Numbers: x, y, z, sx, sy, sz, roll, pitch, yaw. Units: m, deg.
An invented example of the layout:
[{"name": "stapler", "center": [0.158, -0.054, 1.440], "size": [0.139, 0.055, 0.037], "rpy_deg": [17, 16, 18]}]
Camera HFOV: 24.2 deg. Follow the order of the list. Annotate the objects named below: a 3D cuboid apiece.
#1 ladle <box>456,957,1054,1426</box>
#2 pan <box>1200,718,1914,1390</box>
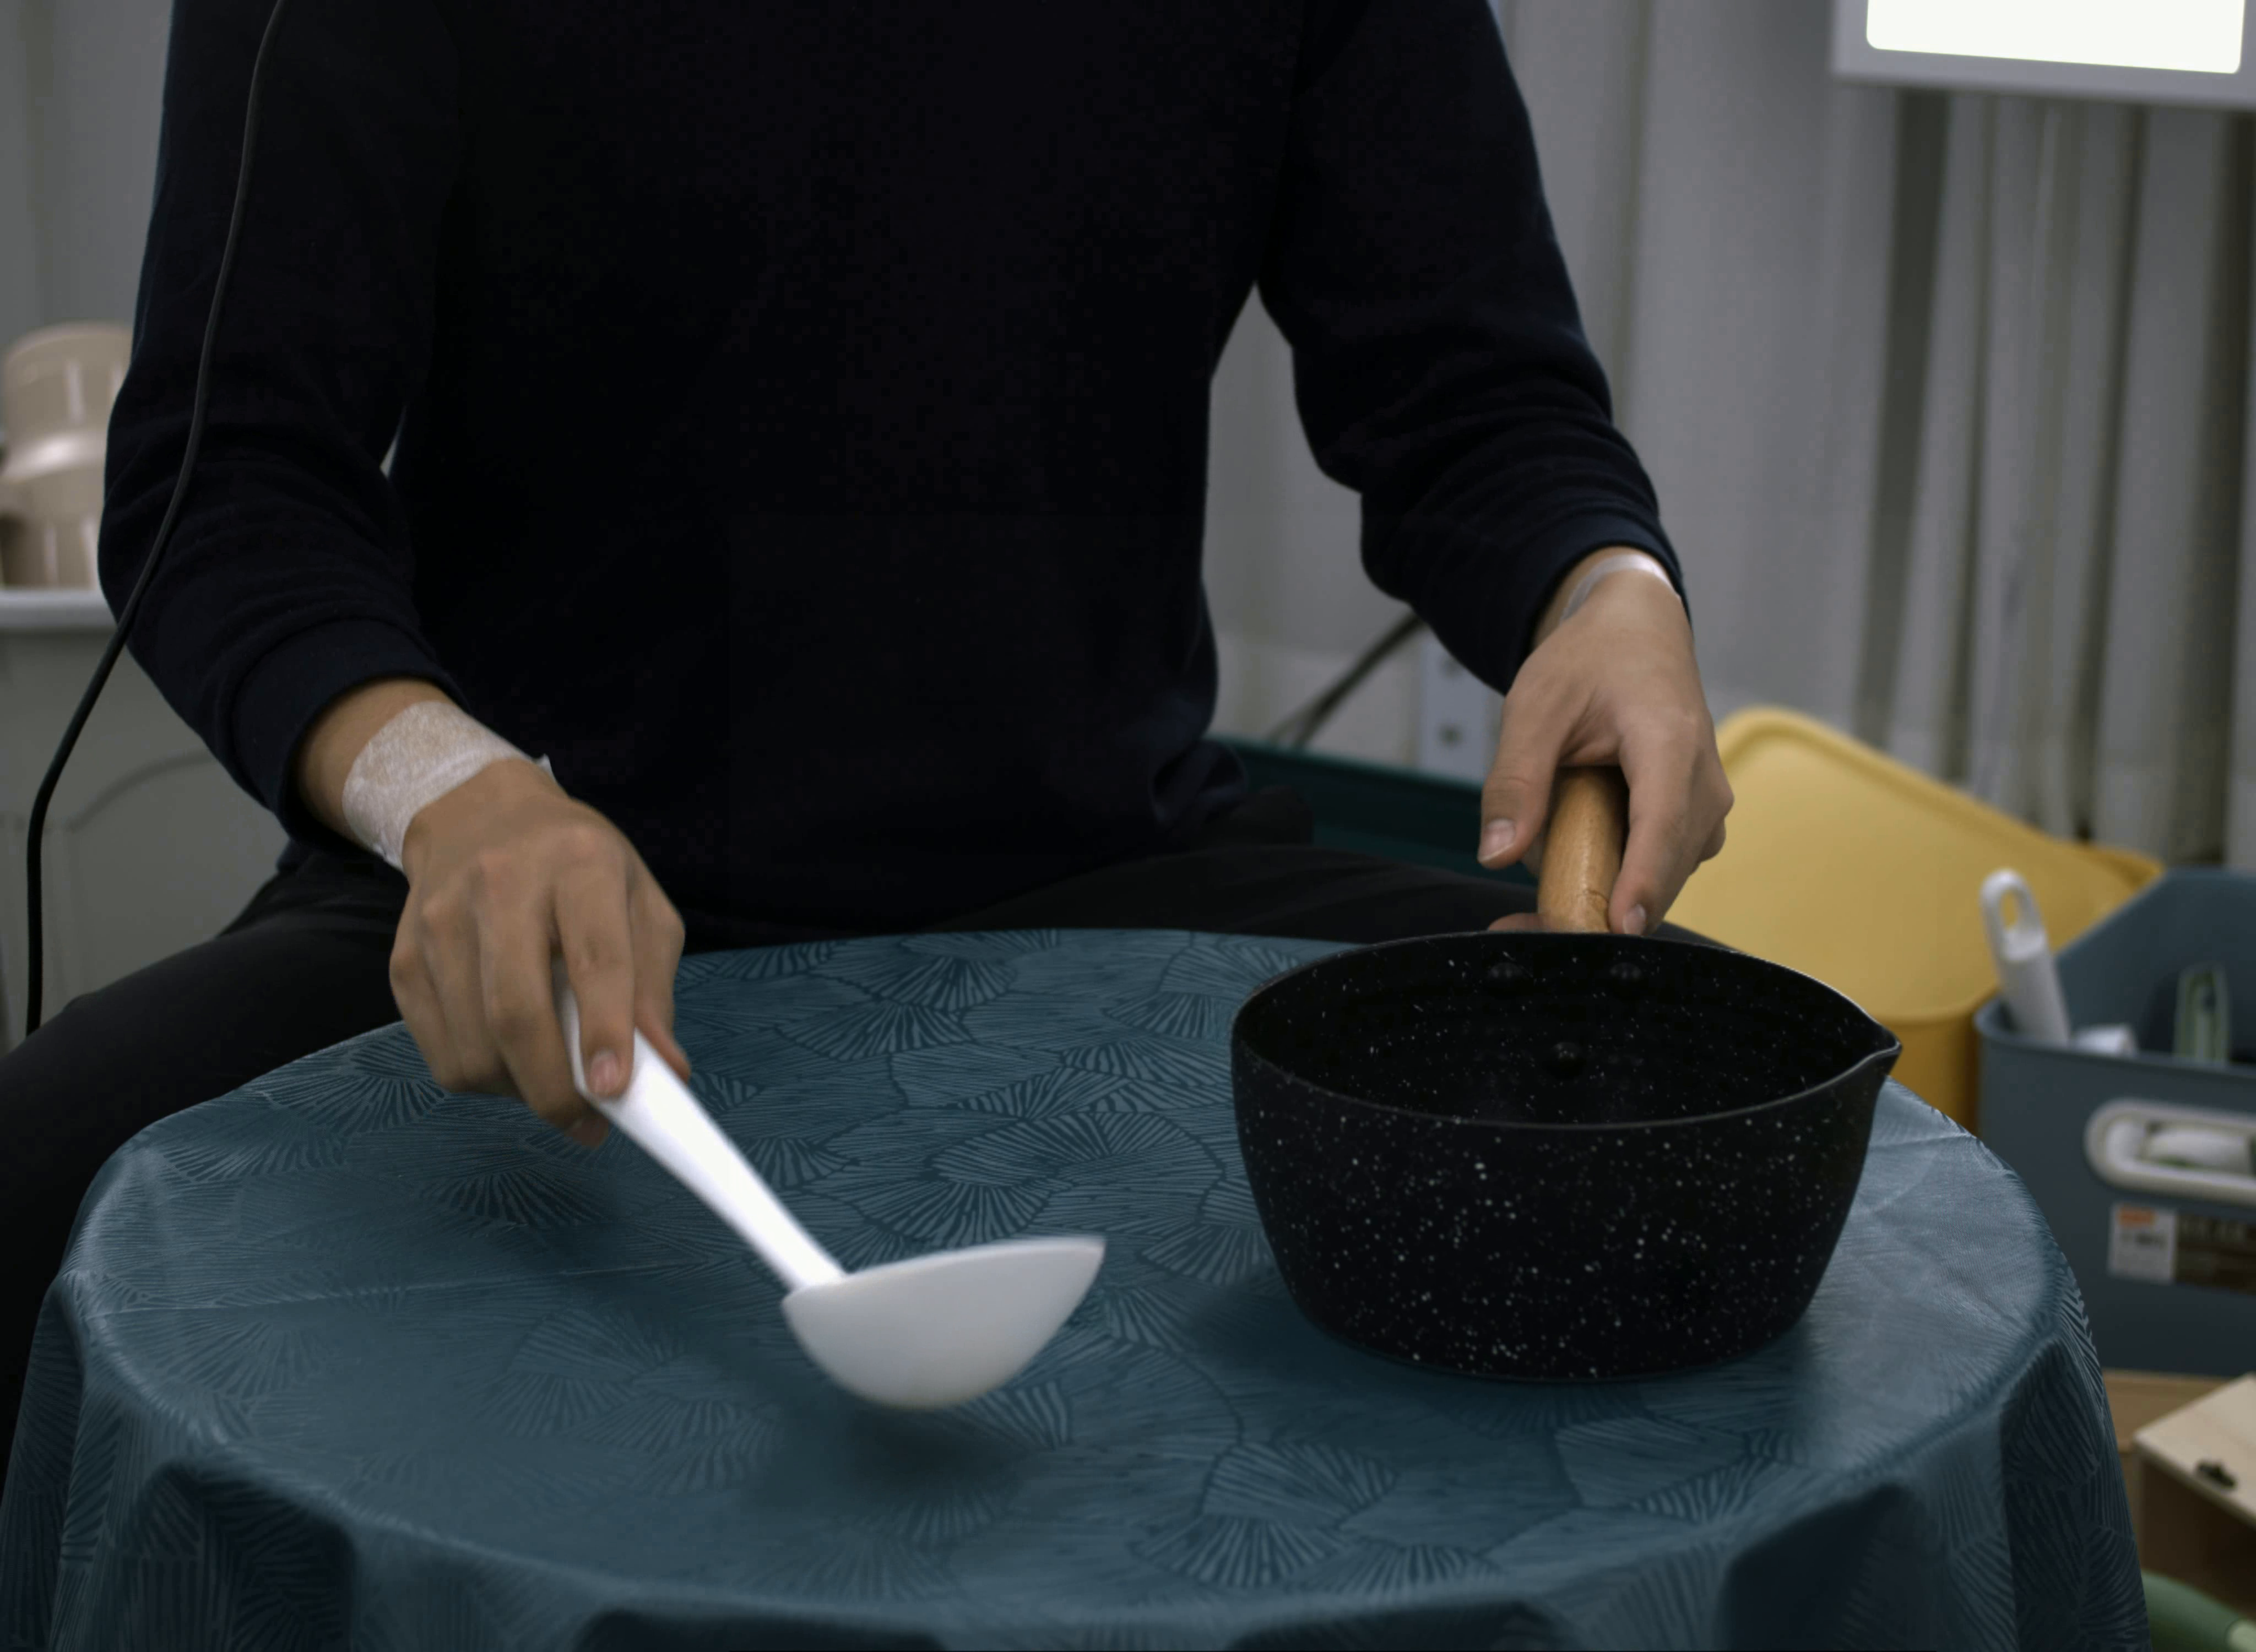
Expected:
[{"name": "ladle", "center": [-0.119, 0.089, 1.486], "size": [0.090, 0.070, 0.289], "rpy_deg": [-11, 28, -28]}, {"name": "pan", "center": [0.131, 0.063, 1.599], "size": [0.206, 0.109, 0.341], "rpy_deg": [1, 17, 6]}]
